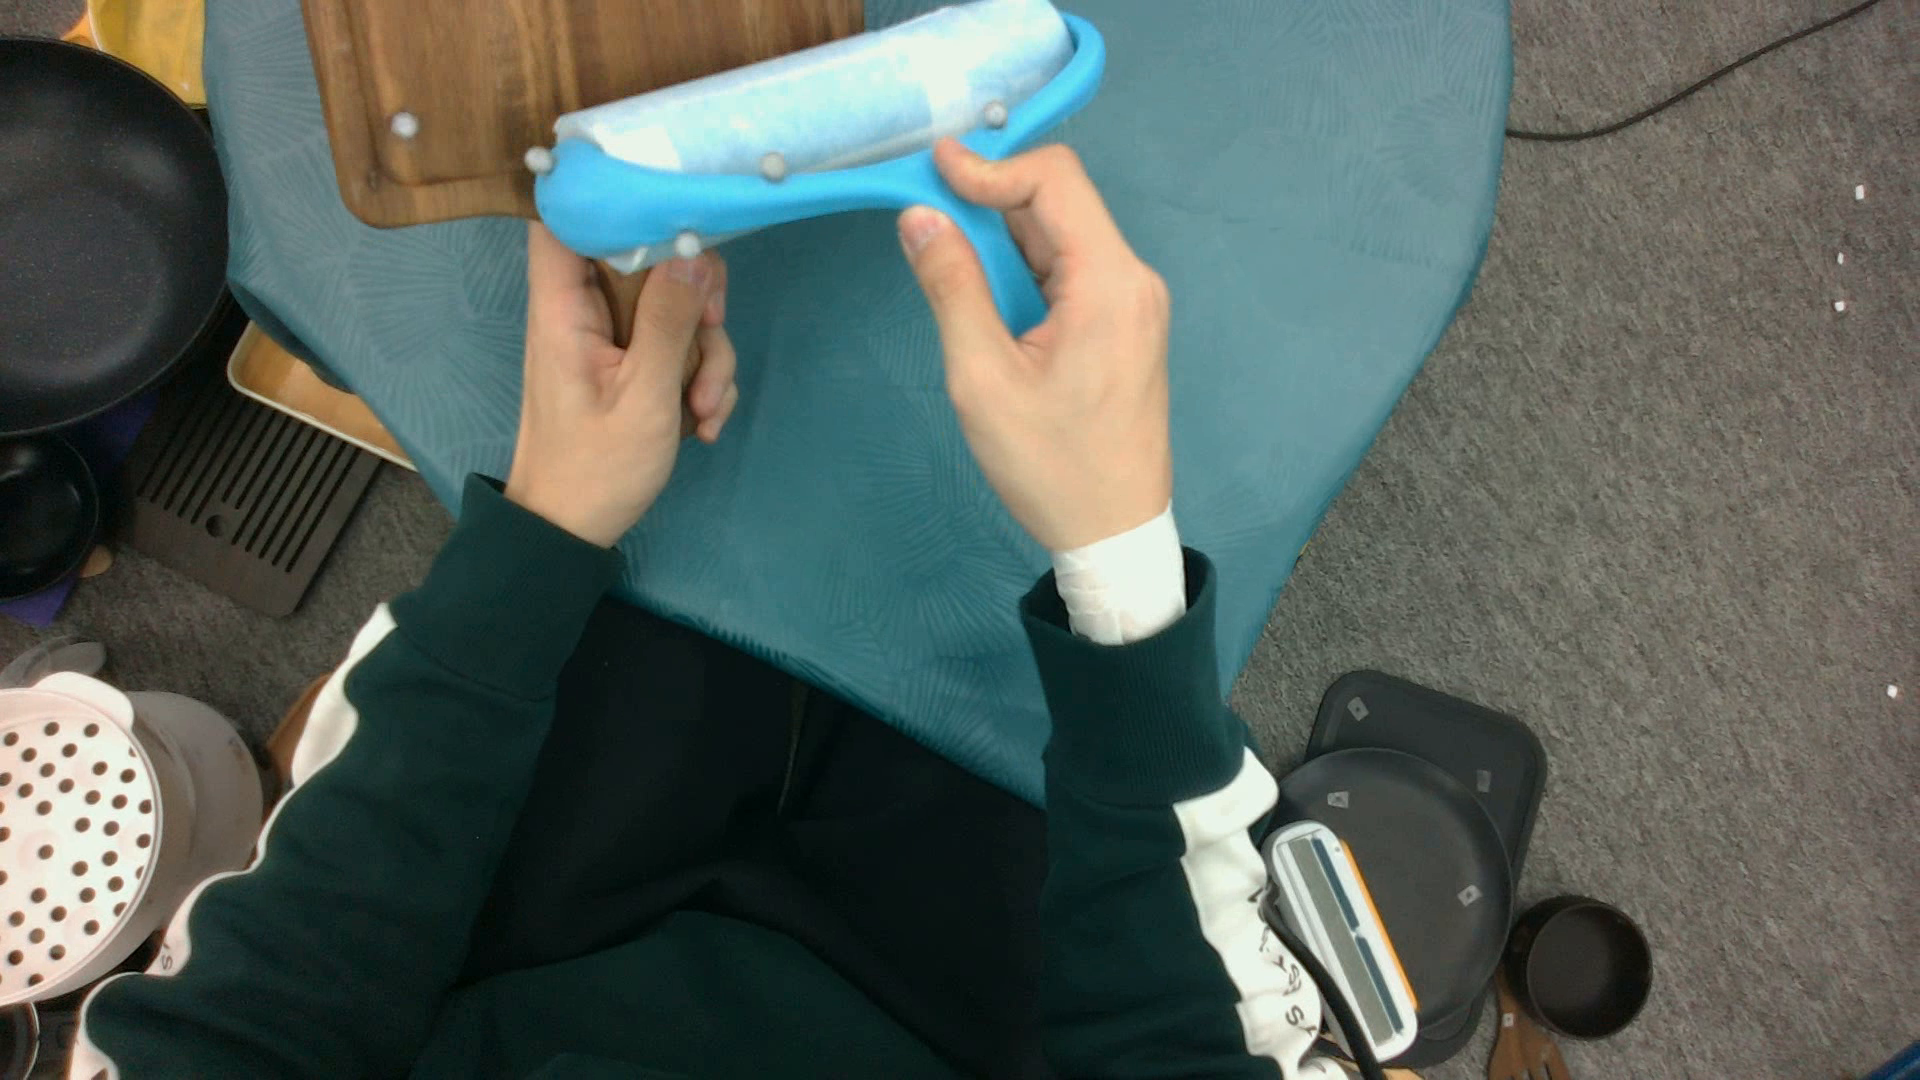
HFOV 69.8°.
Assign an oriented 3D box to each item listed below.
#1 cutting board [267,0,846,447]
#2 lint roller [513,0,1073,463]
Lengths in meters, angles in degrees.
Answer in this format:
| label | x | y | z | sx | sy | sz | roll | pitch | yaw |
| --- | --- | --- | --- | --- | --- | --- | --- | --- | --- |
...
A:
| label | x | y | z | sx | sy | sz | roll | pitch | yaw |
| --- | --- | --- | --- | --- | --- | --- | --- | --- | --- |
| cutting board | -0.132 | -0.195 | 0.475 | 0.202 | 0.023 | 0.351 | -19 | 121 | -29 |
| lint roller | -0.016 | -0.112 | 0.485 | 0.230 | 0.067 | 0.180 | -33 | 75 | -33 |
